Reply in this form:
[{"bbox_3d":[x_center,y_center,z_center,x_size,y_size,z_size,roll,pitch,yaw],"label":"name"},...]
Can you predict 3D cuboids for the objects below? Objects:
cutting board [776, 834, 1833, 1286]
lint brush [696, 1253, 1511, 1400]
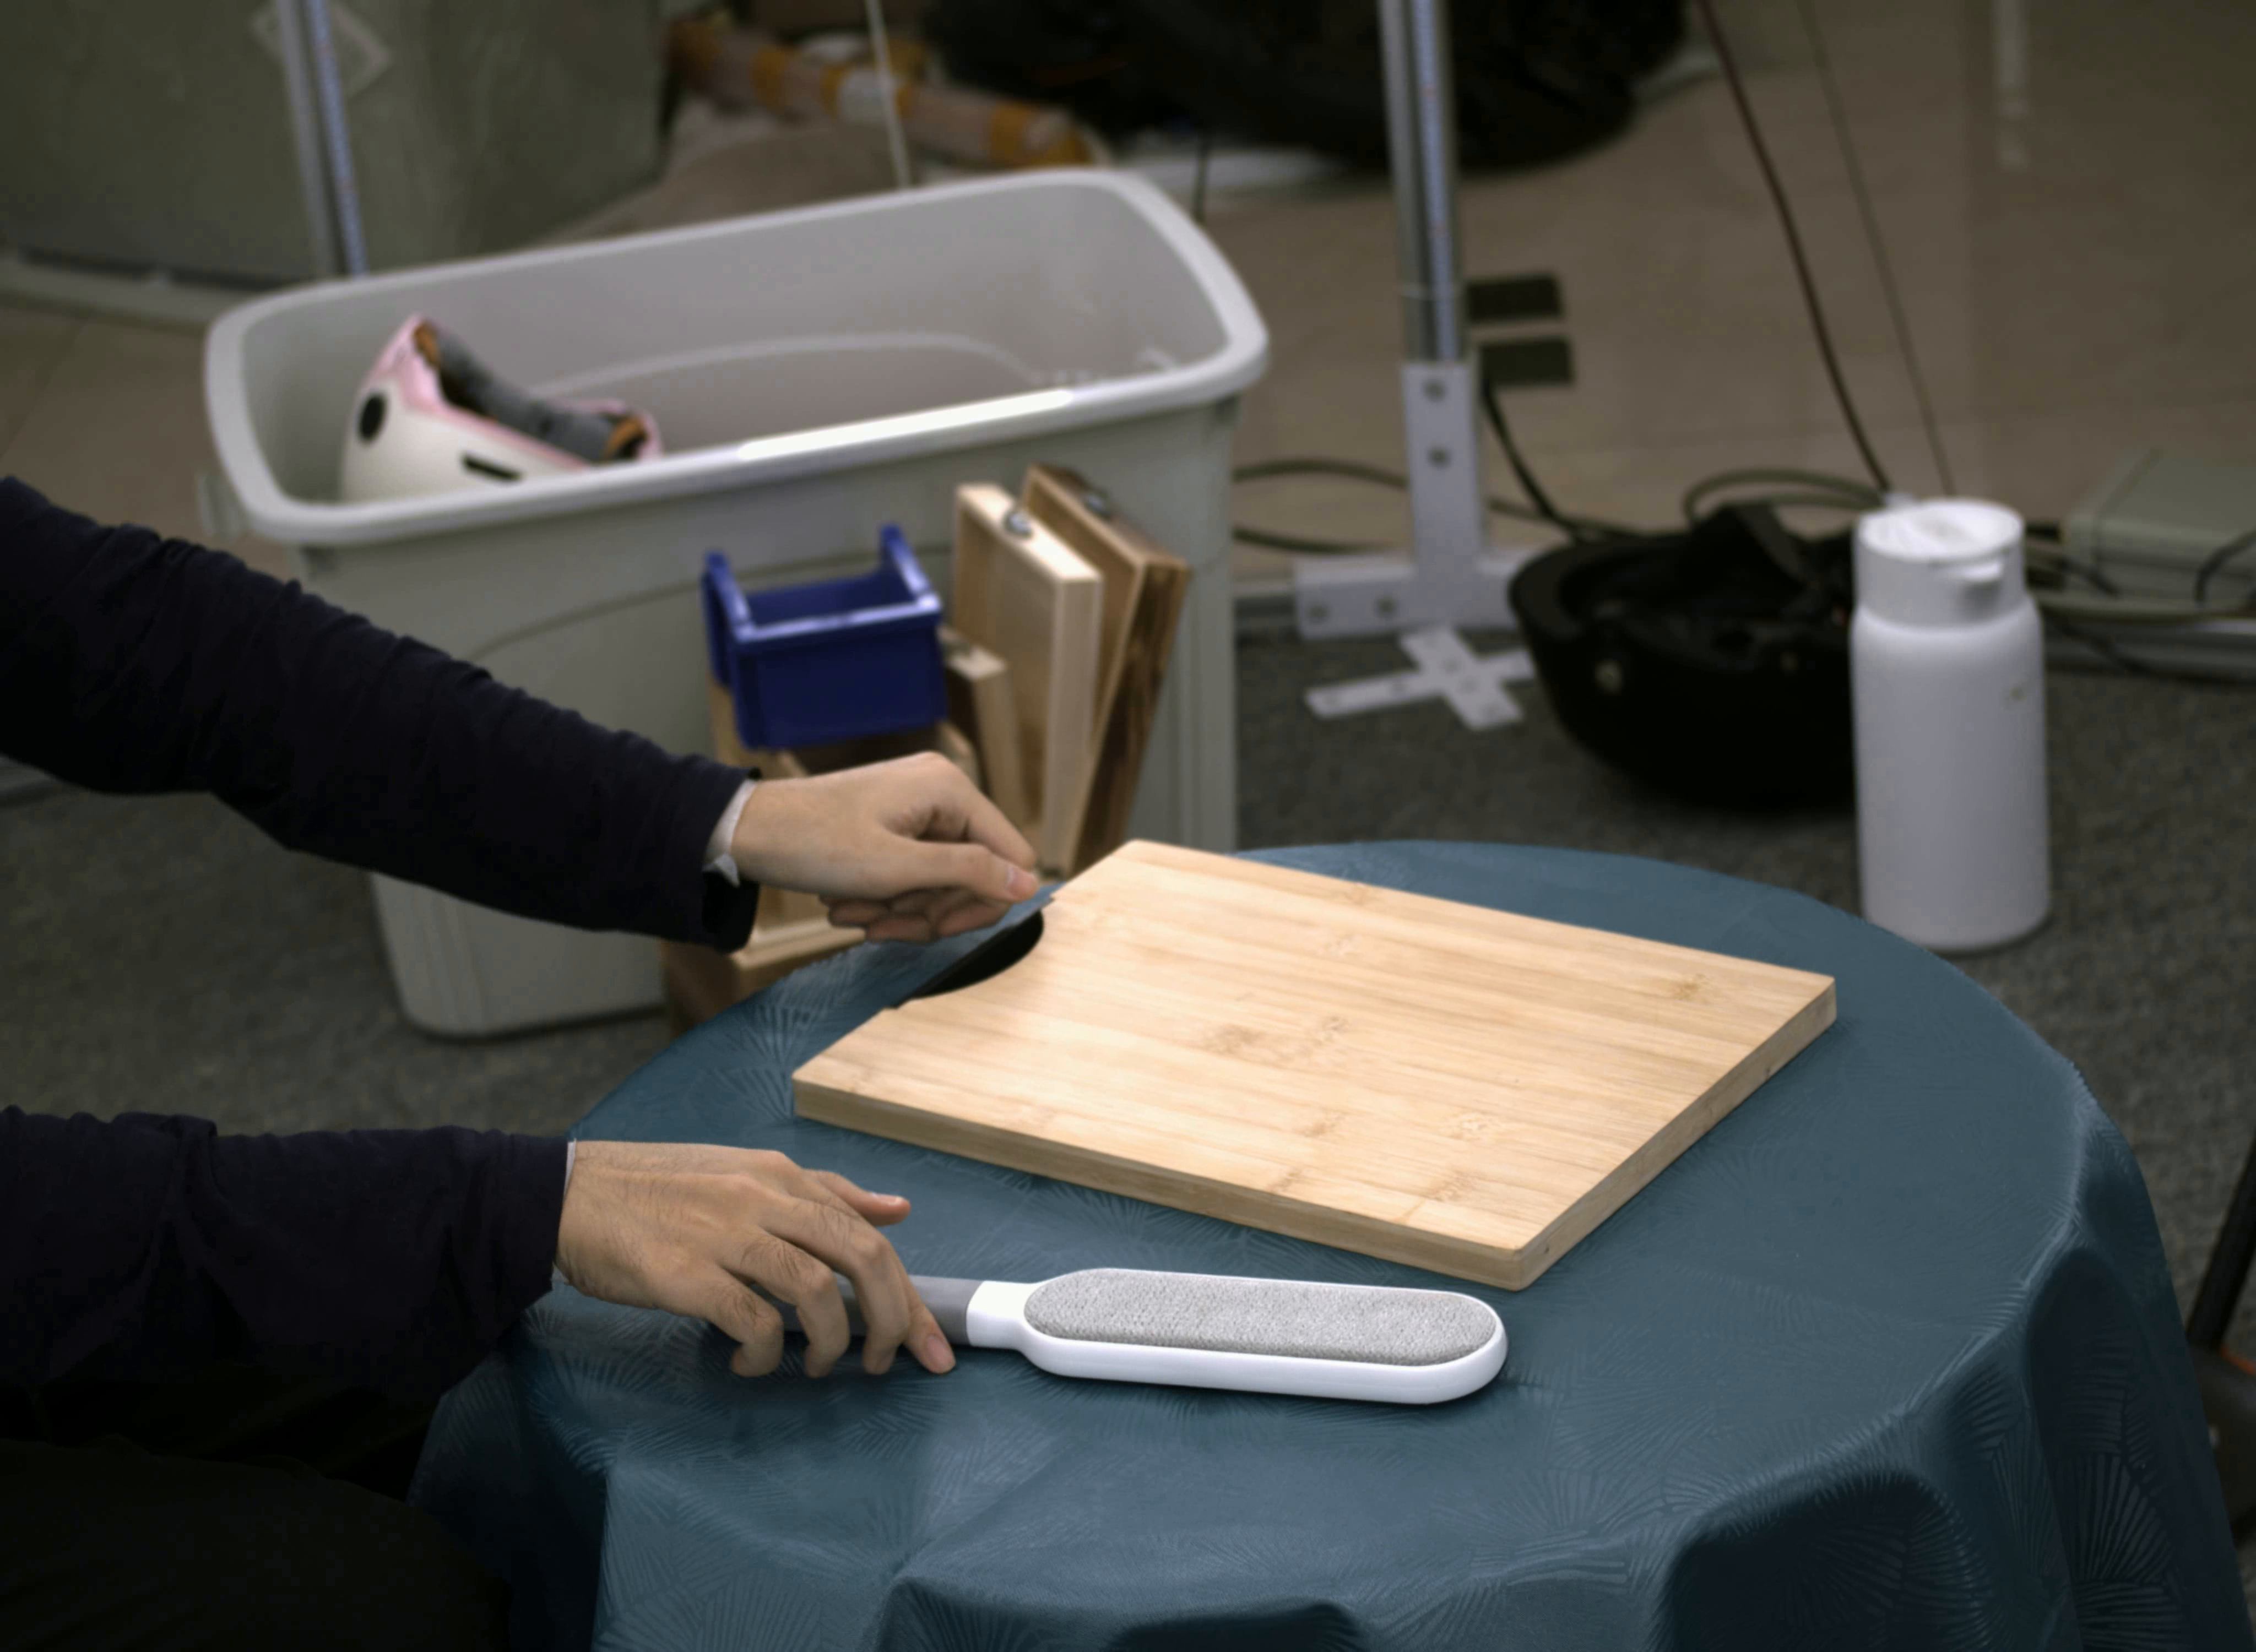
[{"bbox_3d":[0.068,0.086,2.230,0.347,0.024,0.248,11,30,33],"label":"cutting board"},{"bbox_3d":[-0.013,0.175,2.044,0.308,0.021,0.059,3,32,19],"label":"lint brush"}]
